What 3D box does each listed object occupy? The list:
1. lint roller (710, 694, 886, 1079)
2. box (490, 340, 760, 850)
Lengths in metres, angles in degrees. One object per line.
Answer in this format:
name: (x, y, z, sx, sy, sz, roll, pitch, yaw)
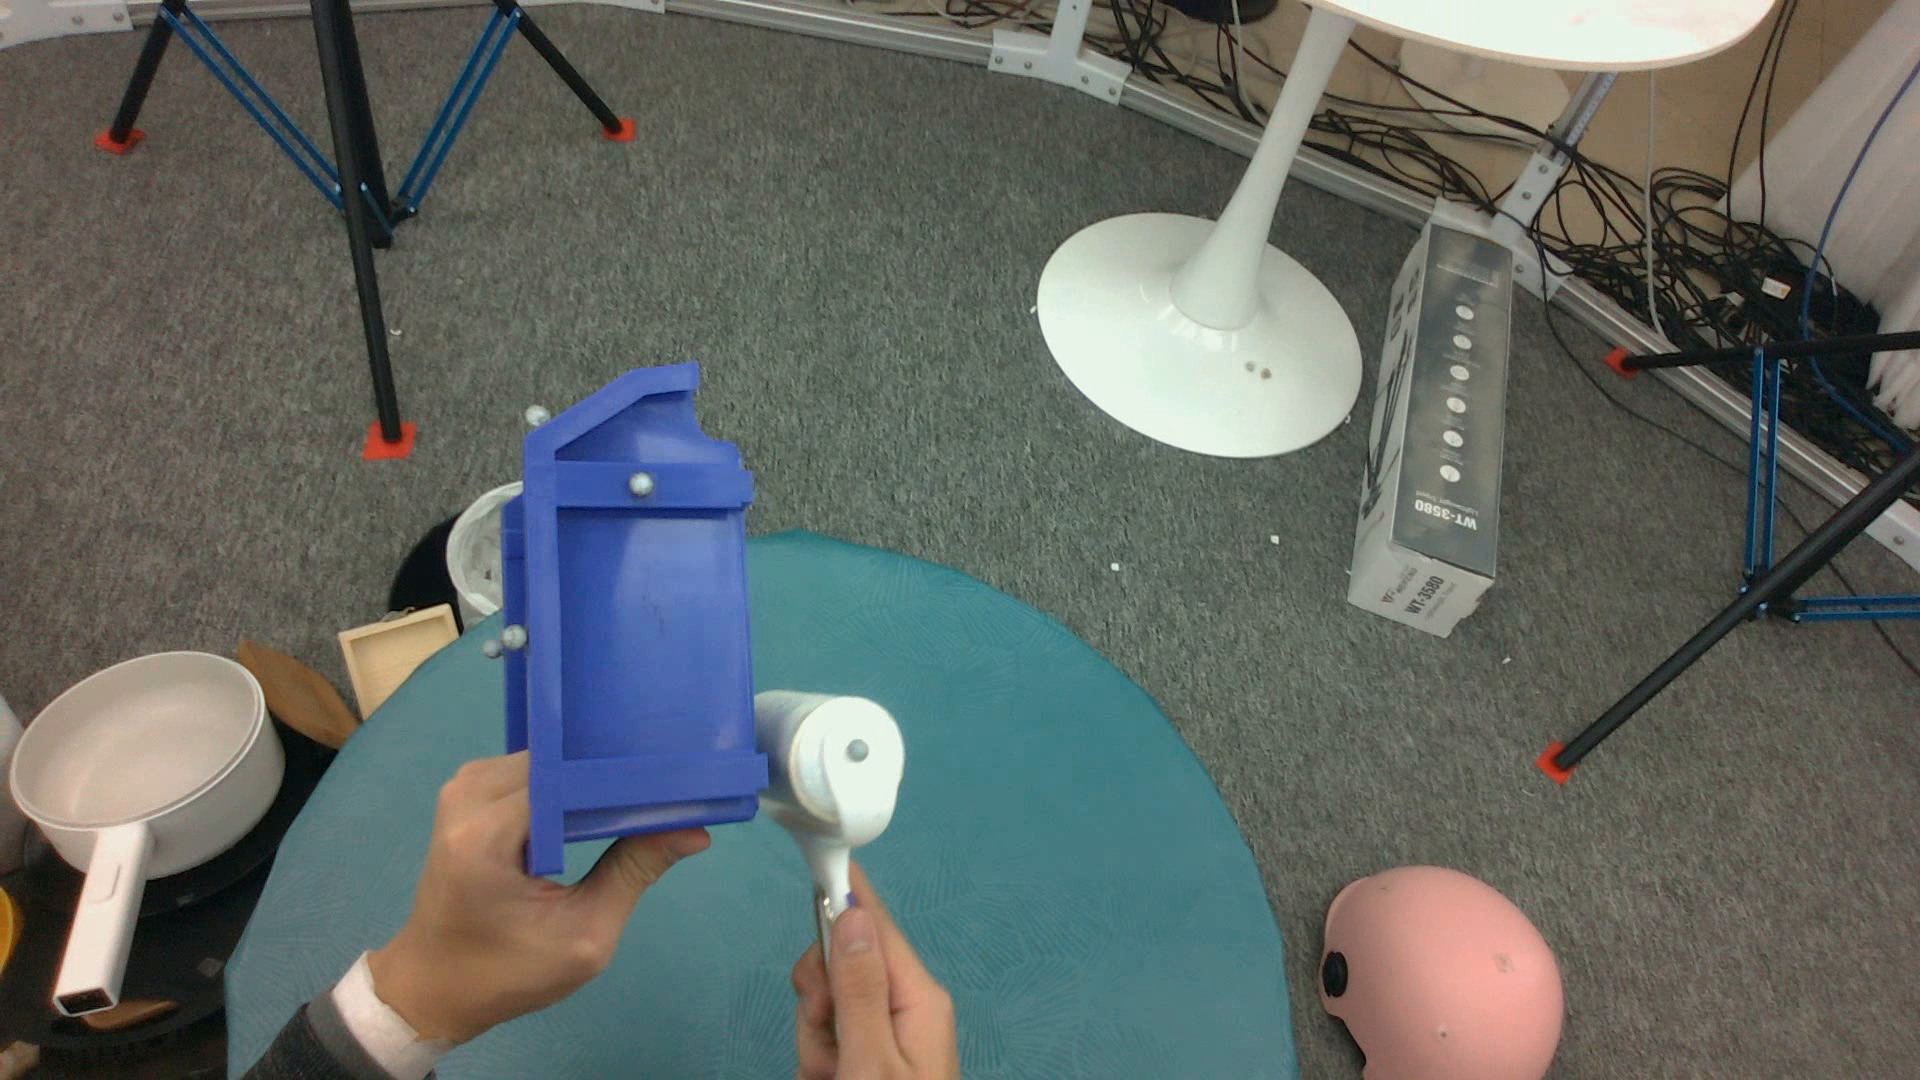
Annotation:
lint roller: (-0.050, 0.148, 0.562, 0.050, 0.132, 0.180, -23, 94, -27)
box: (-0.137, 0.024, 0.542, 0.082, 0.124, 0.179, -2, 80, -23)
